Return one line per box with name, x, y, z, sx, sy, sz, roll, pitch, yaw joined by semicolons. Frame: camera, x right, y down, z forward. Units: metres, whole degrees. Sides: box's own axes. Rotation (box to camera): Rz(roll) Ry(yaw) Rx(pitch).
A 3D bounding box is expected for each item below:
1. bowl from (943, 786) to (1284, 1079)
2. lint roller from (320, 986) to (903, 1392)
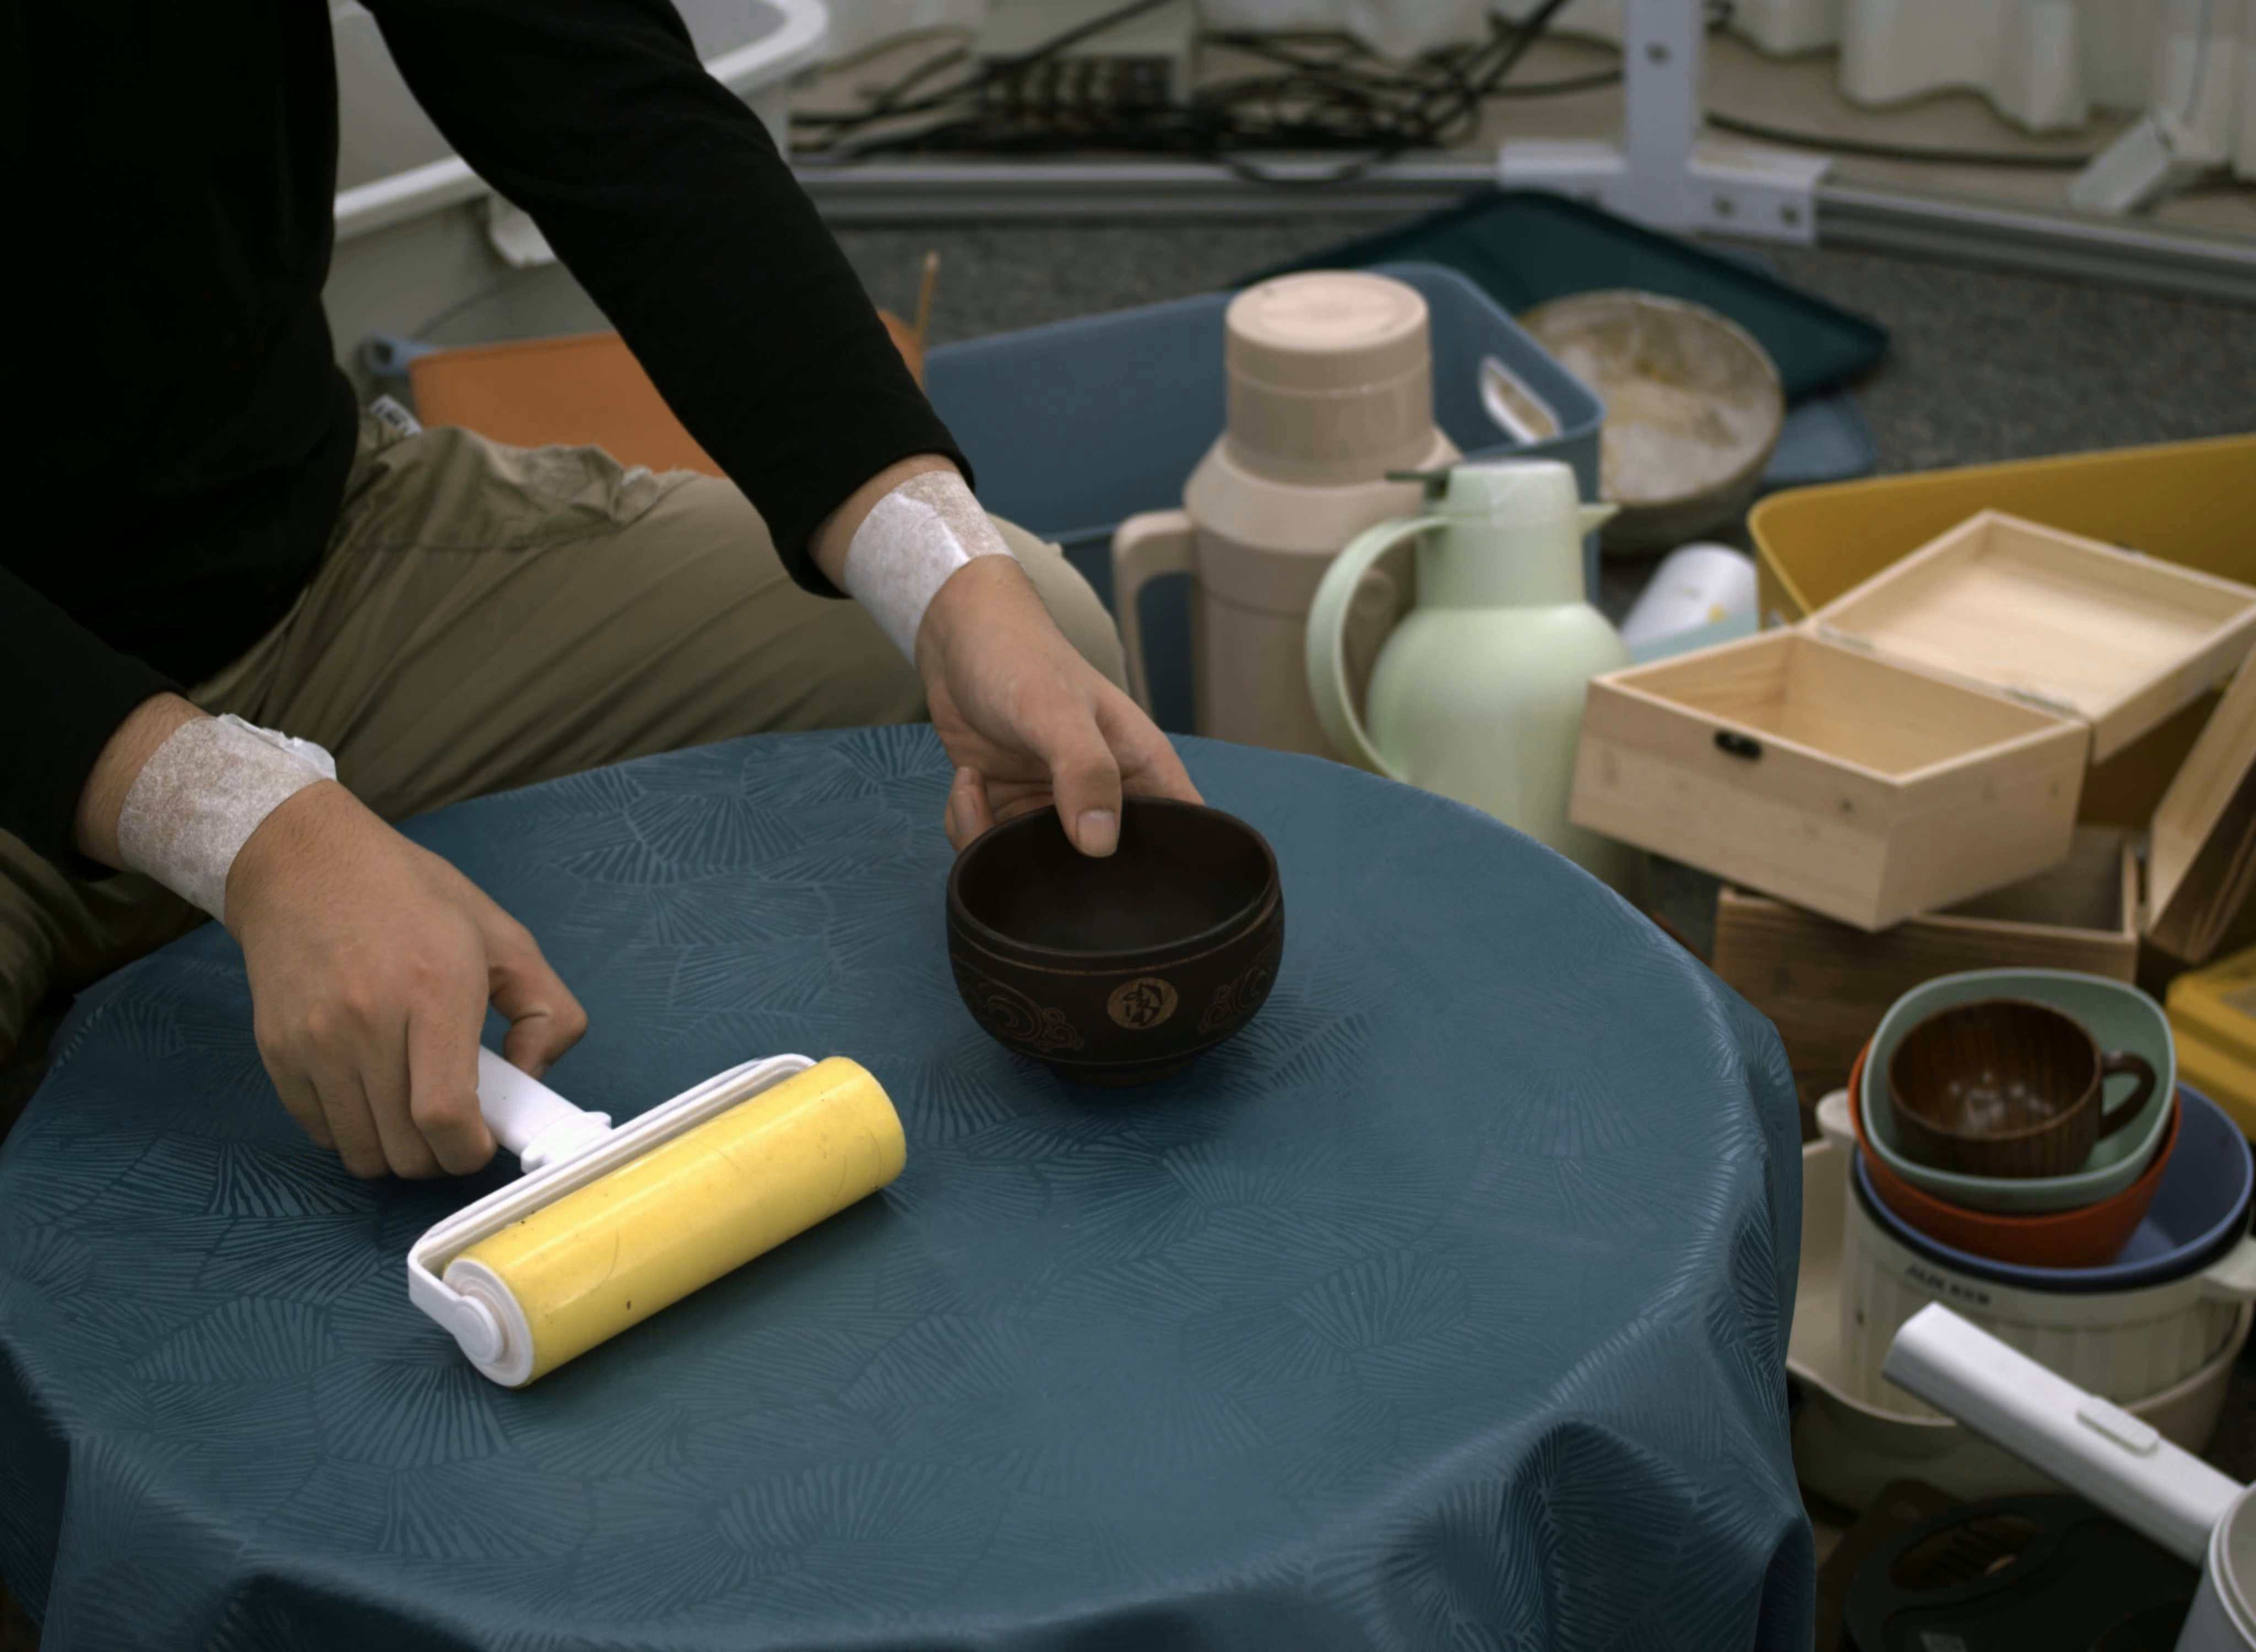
bowl;-0.005;0.043;1.932;0.117;0.069;0.120;-1;27;1
lint roller;-0.197;0.093;1.849;0.192;0.050;0.176;36;44;28
